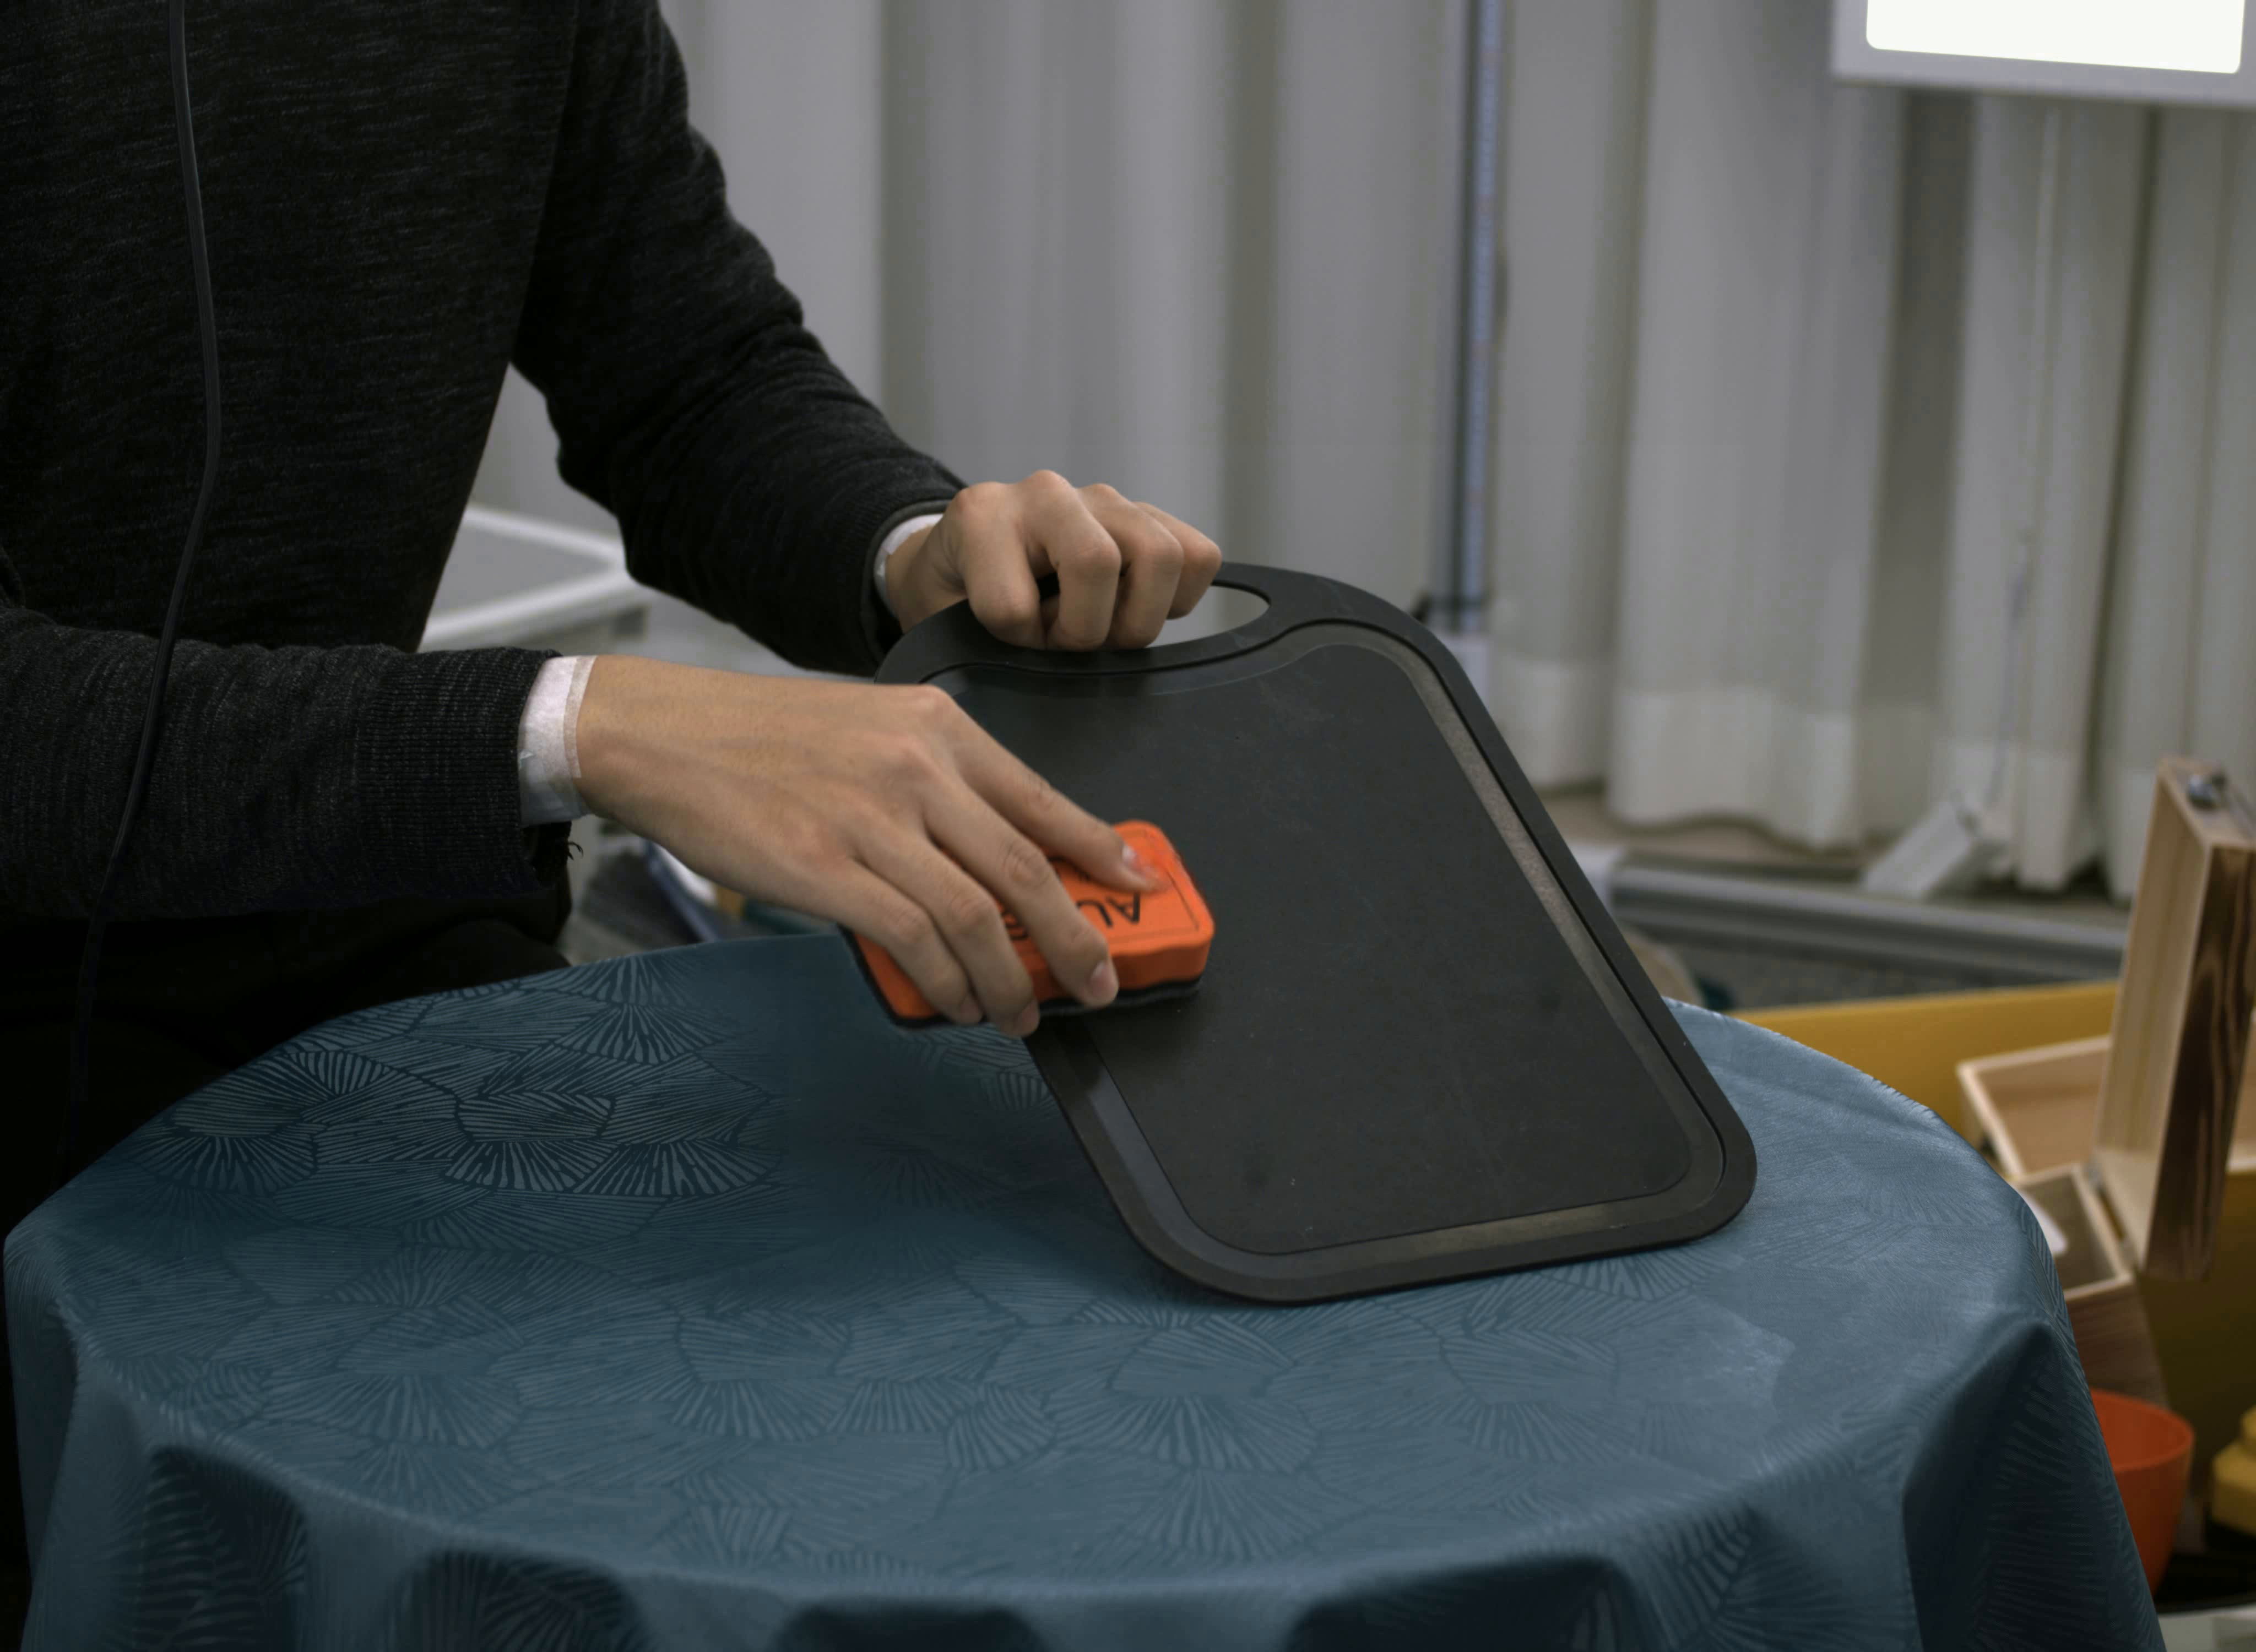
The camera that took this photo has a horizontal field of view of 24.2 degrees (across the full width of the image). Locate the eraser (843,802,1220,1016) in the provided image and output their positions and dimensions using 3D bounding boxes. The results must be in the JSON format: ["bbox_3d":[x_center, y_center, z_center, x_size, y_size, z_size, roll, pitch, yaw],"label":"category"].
[{"bbox_3d":[-0.029,0.025,1.611,0.108,0.023,0.058,-10,41,-24],"label":"eraser"}]

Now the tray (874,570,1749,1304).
[{"bbox_3d":[0.050,0.024,1.653,0.212,0.010,0.321,-6,45,-24],"label":"tray"}]
